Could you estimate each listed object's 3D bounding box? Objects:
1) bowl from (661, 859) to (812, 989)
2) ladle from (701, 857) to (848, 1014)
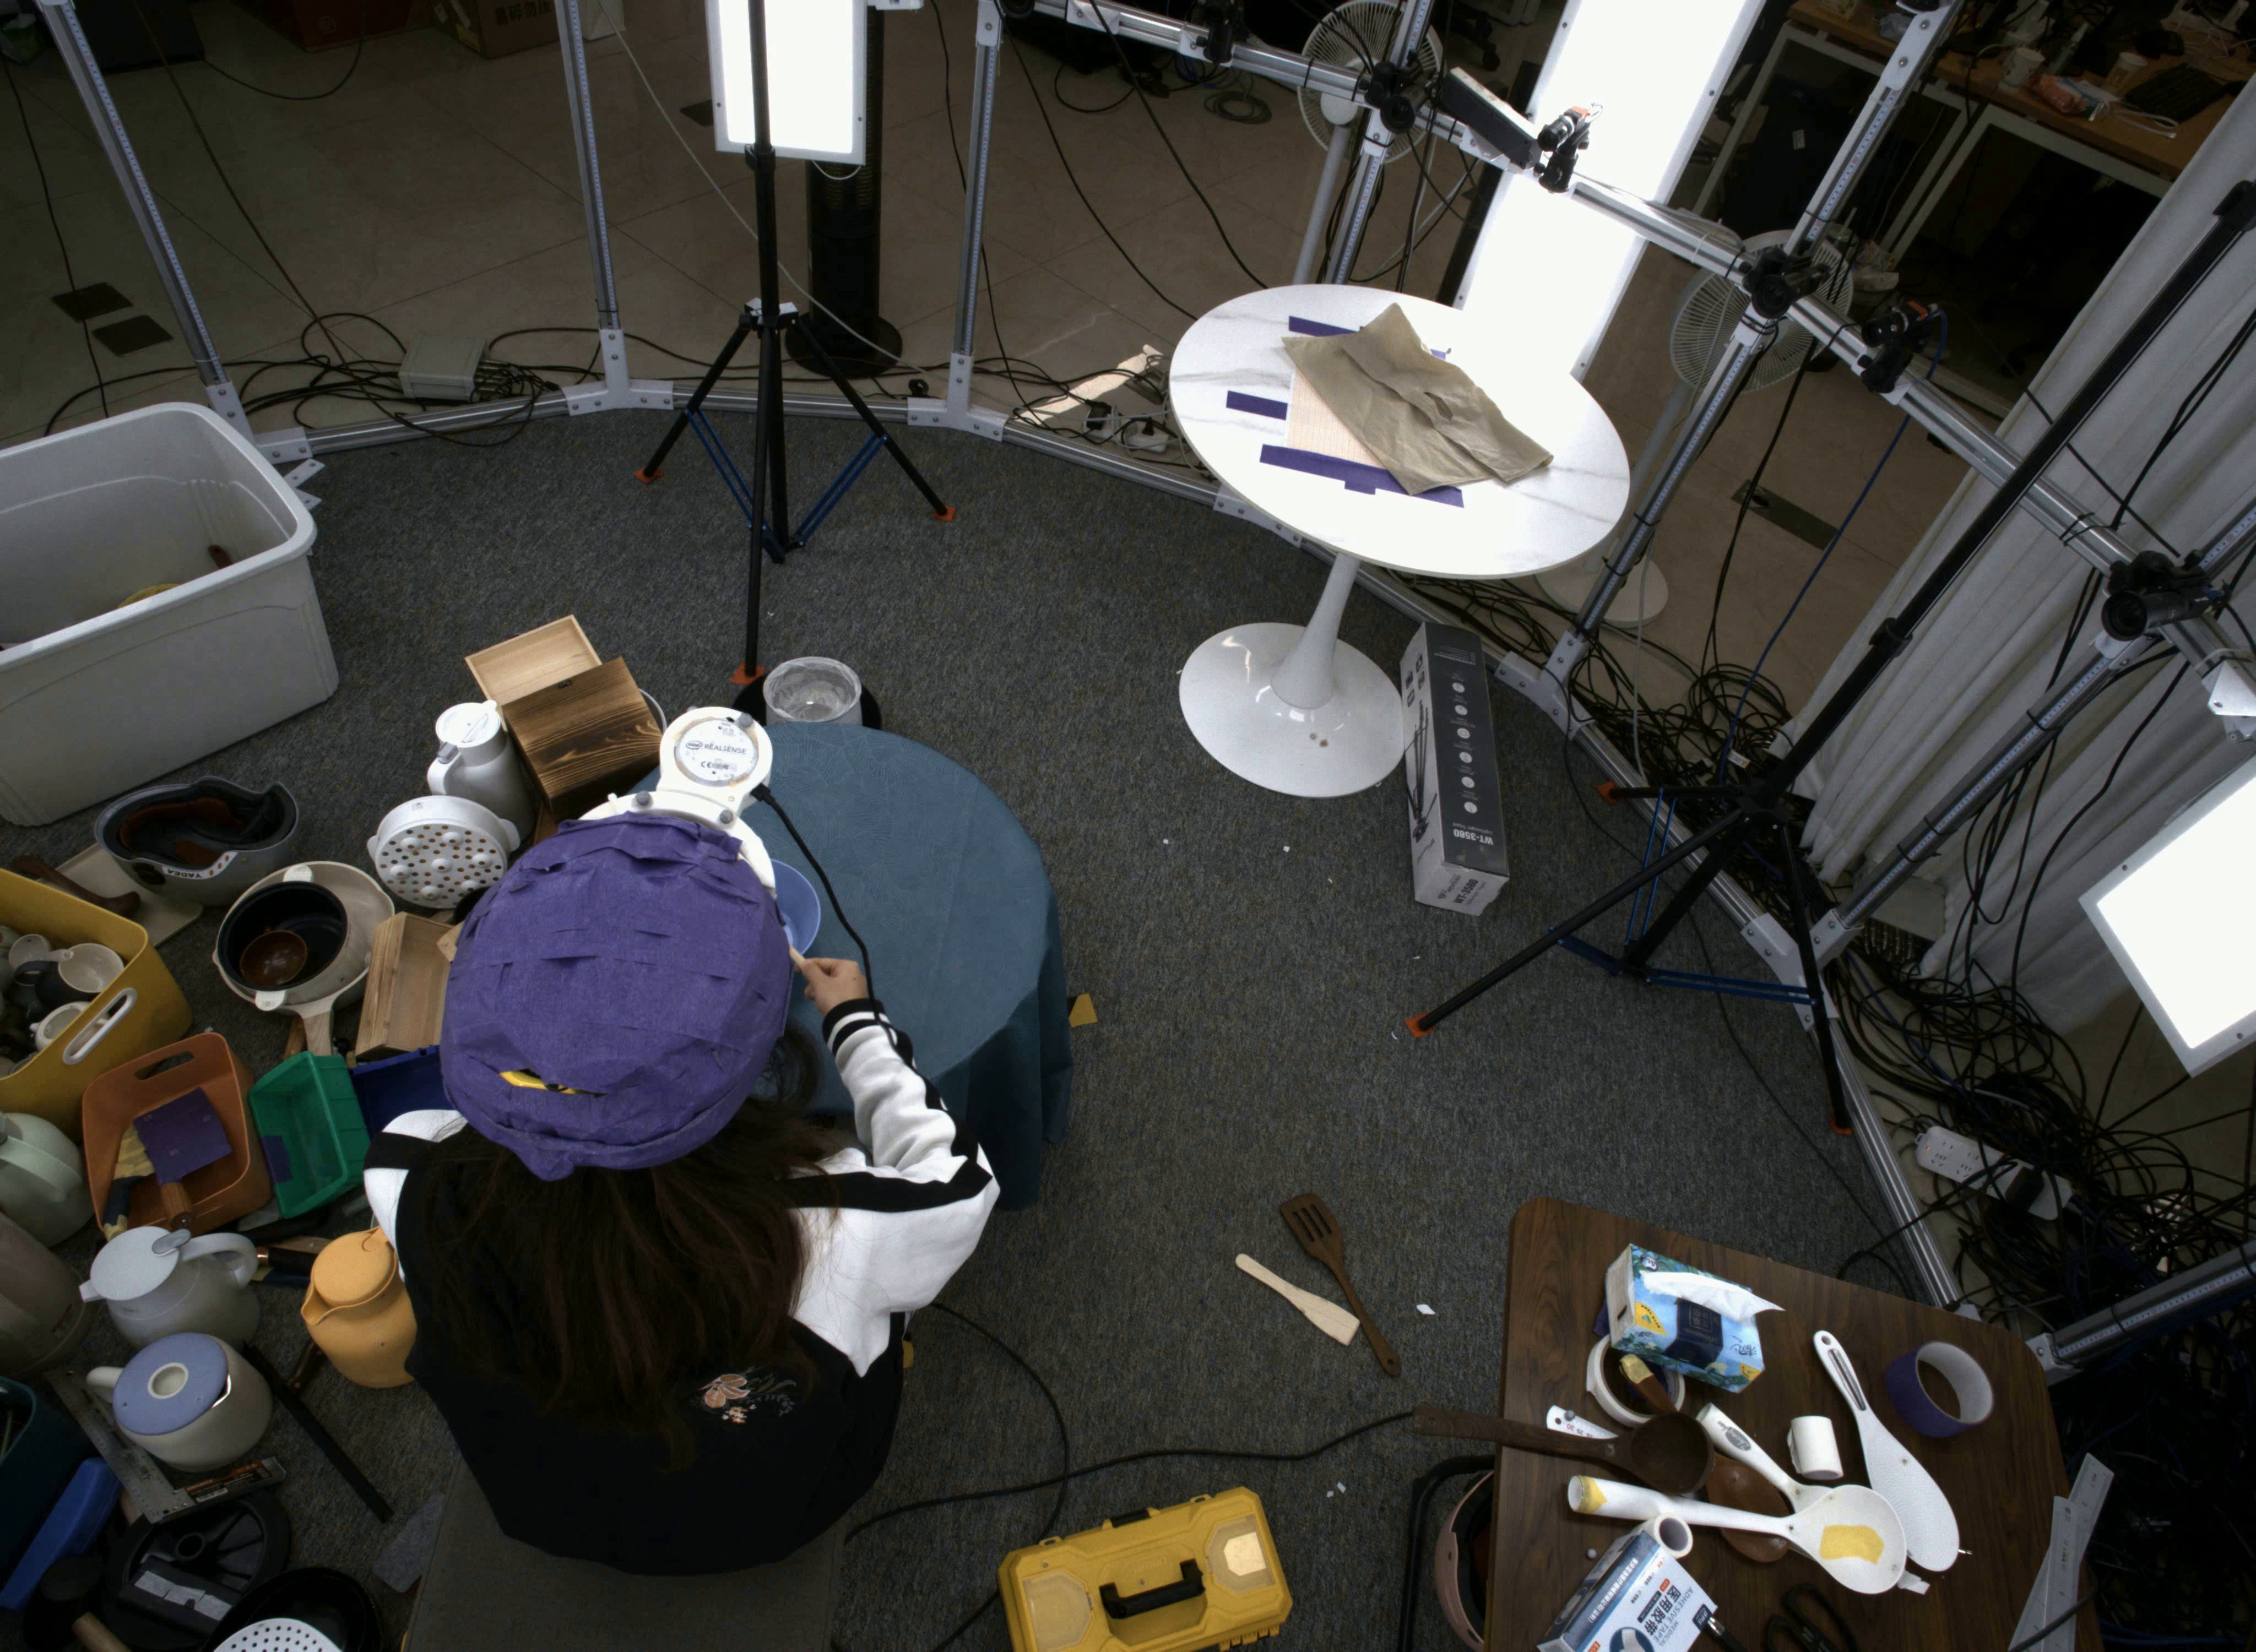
[{"bbox_3d":[-0.471,0.128,1.566,0.175,0.072,0.173,7,52,-8],"label":"bowl"},{"bbox_3d":[-0.401,0.119,1.477,0.245,0.075,0.072,33,49,31],"label":"ladle"}]
